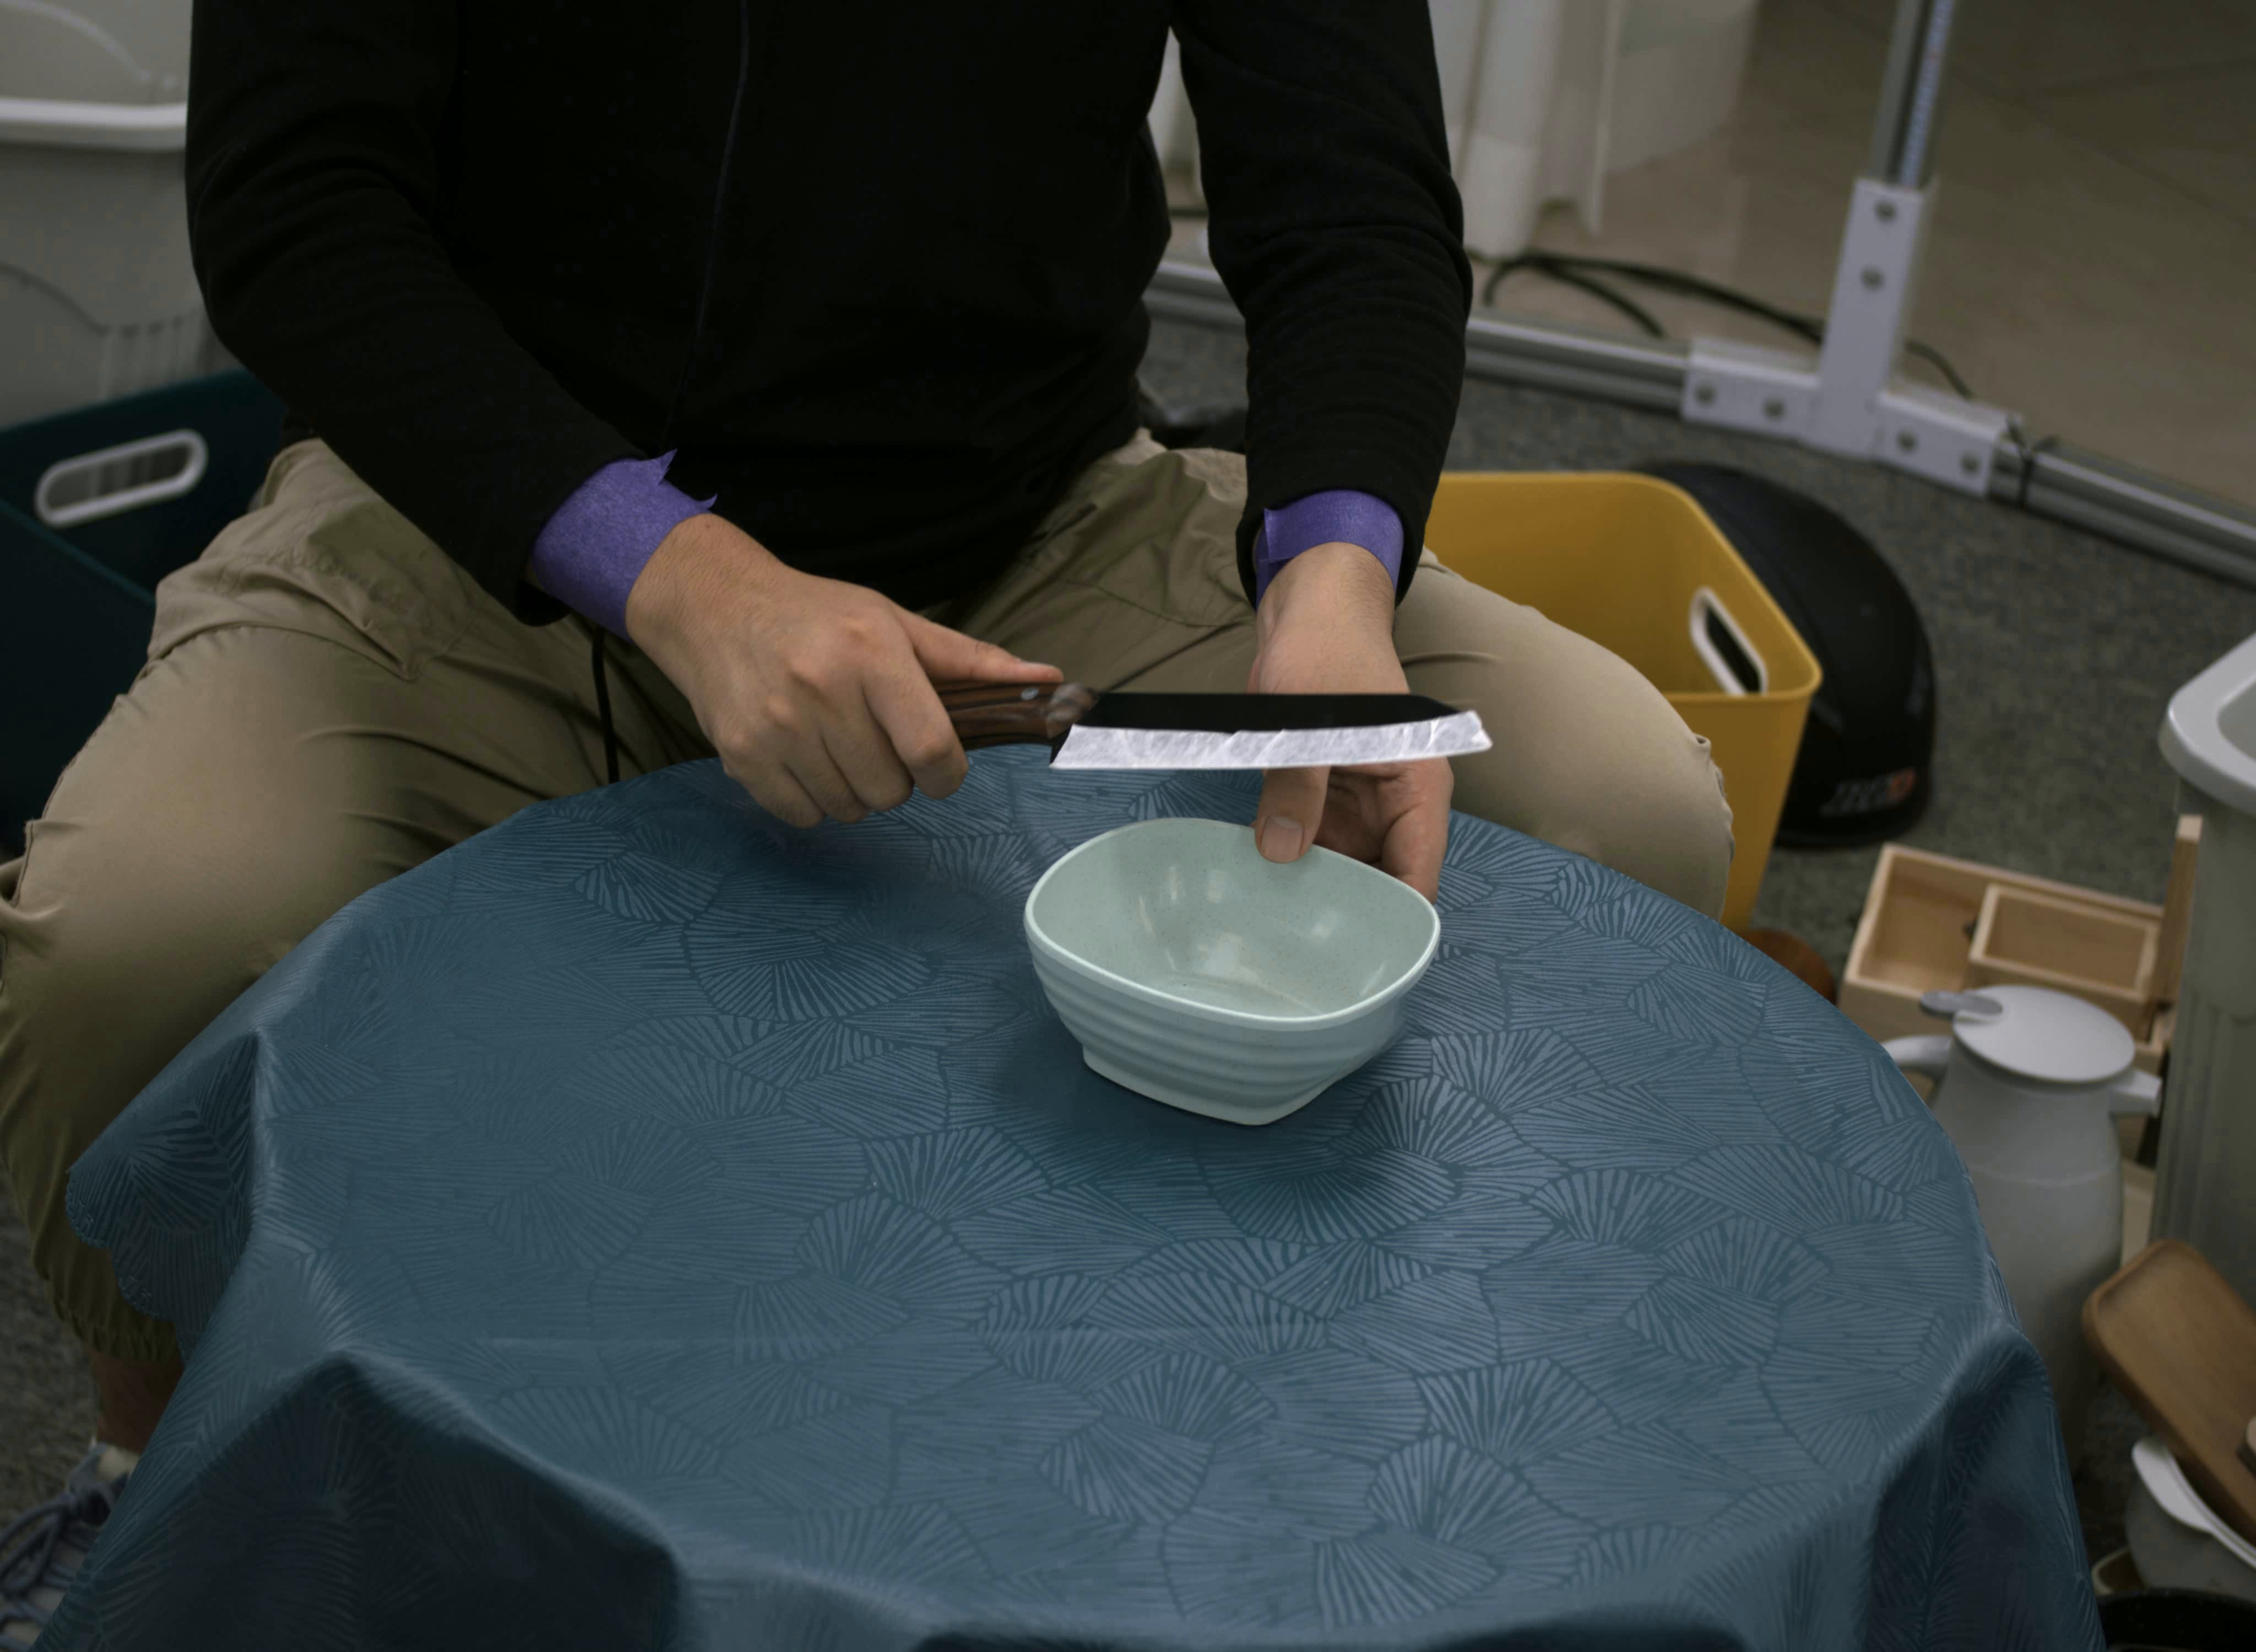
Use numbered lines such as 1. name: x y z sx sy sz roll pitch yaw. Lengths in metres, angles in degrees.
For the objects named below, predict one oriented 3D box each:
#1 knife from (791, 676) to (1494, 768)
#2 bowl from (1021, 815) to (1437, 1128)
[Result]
1. knife: 0.001 -0.037 1.925 0.290 0.020 0.050 2 41 28
2. bowl: 0.033 0.057 1.882 0.151 0.058 0.152 7 27 -4
